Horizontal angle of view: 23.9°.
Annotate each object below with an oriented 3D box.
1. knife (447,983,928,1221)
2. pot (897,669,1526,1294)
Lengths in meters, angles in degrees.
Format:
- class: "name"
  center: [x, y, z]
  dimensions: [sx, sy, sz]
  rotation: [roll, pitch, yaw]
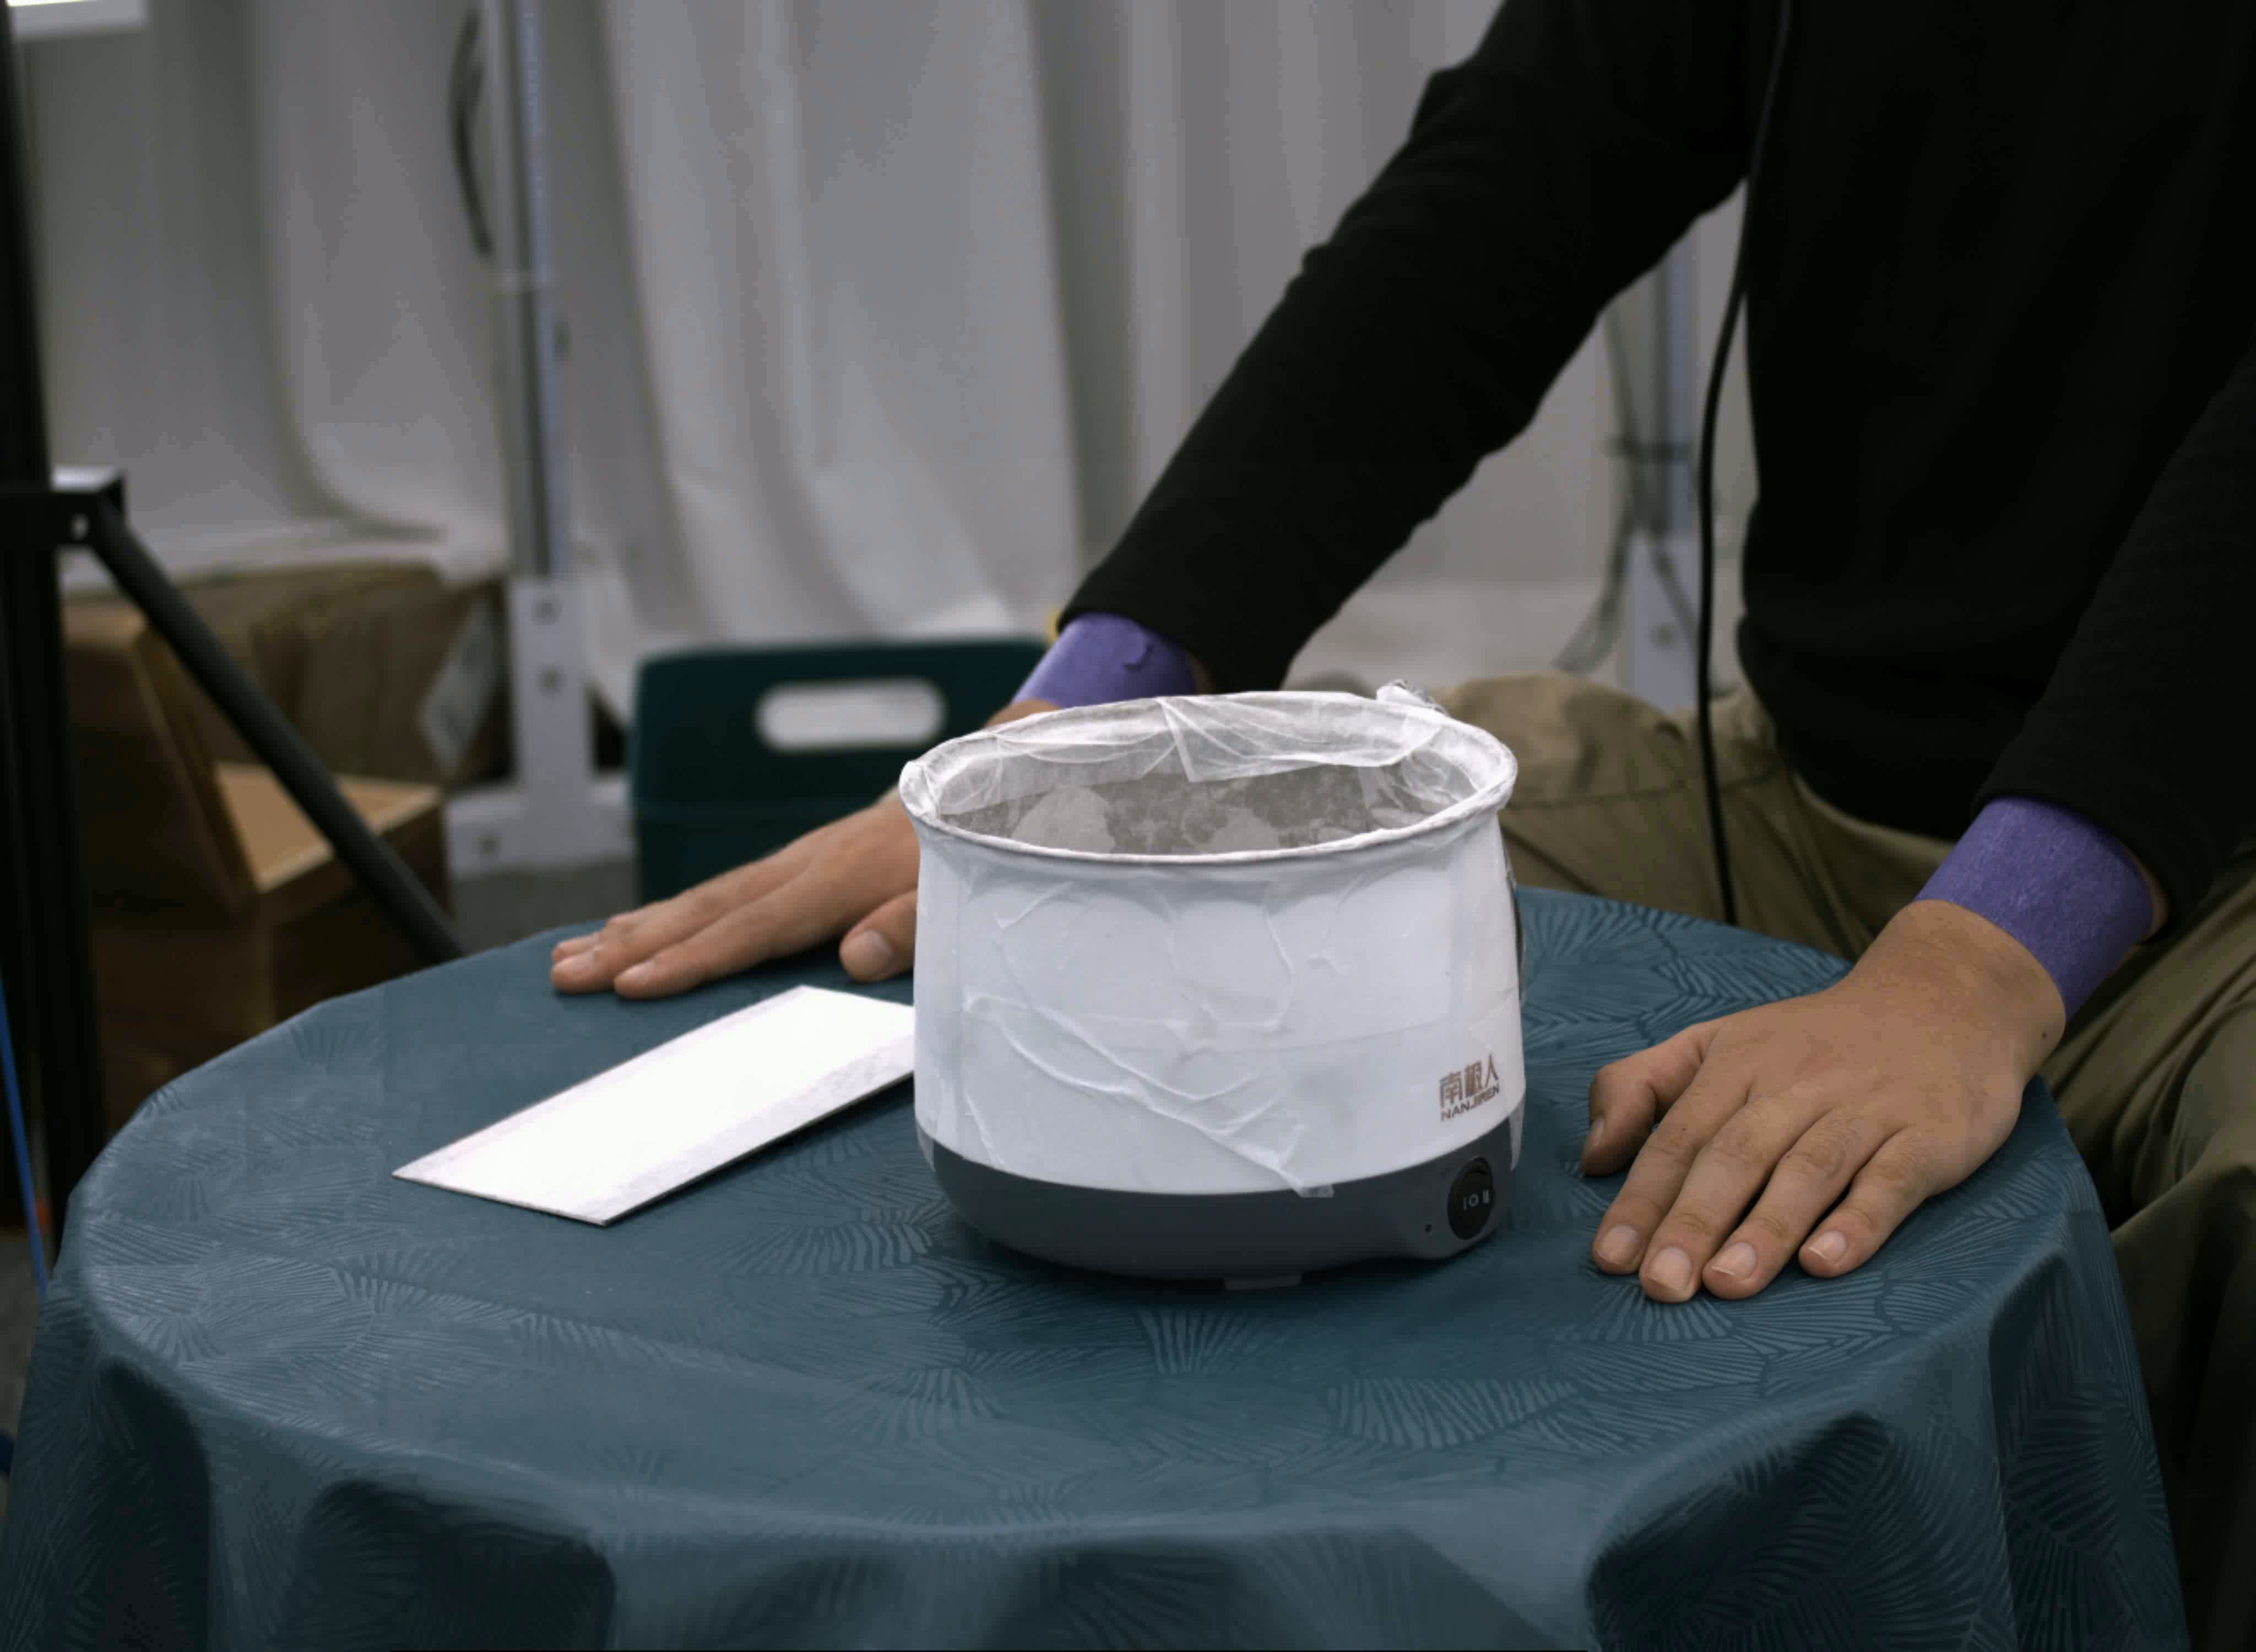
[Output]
- class: "knife"
  center: [-0.093, 0.070, 1.682]
  dimensions: [0.095, 0.021, 0.299]
  rotation: [10, 22, 38]
- class: "pot"
  center: [0.041, 0.037, 1.541]
  dimensions: [0.182, 0.136, 0.229]
  rotation: [9, 20, 35]
